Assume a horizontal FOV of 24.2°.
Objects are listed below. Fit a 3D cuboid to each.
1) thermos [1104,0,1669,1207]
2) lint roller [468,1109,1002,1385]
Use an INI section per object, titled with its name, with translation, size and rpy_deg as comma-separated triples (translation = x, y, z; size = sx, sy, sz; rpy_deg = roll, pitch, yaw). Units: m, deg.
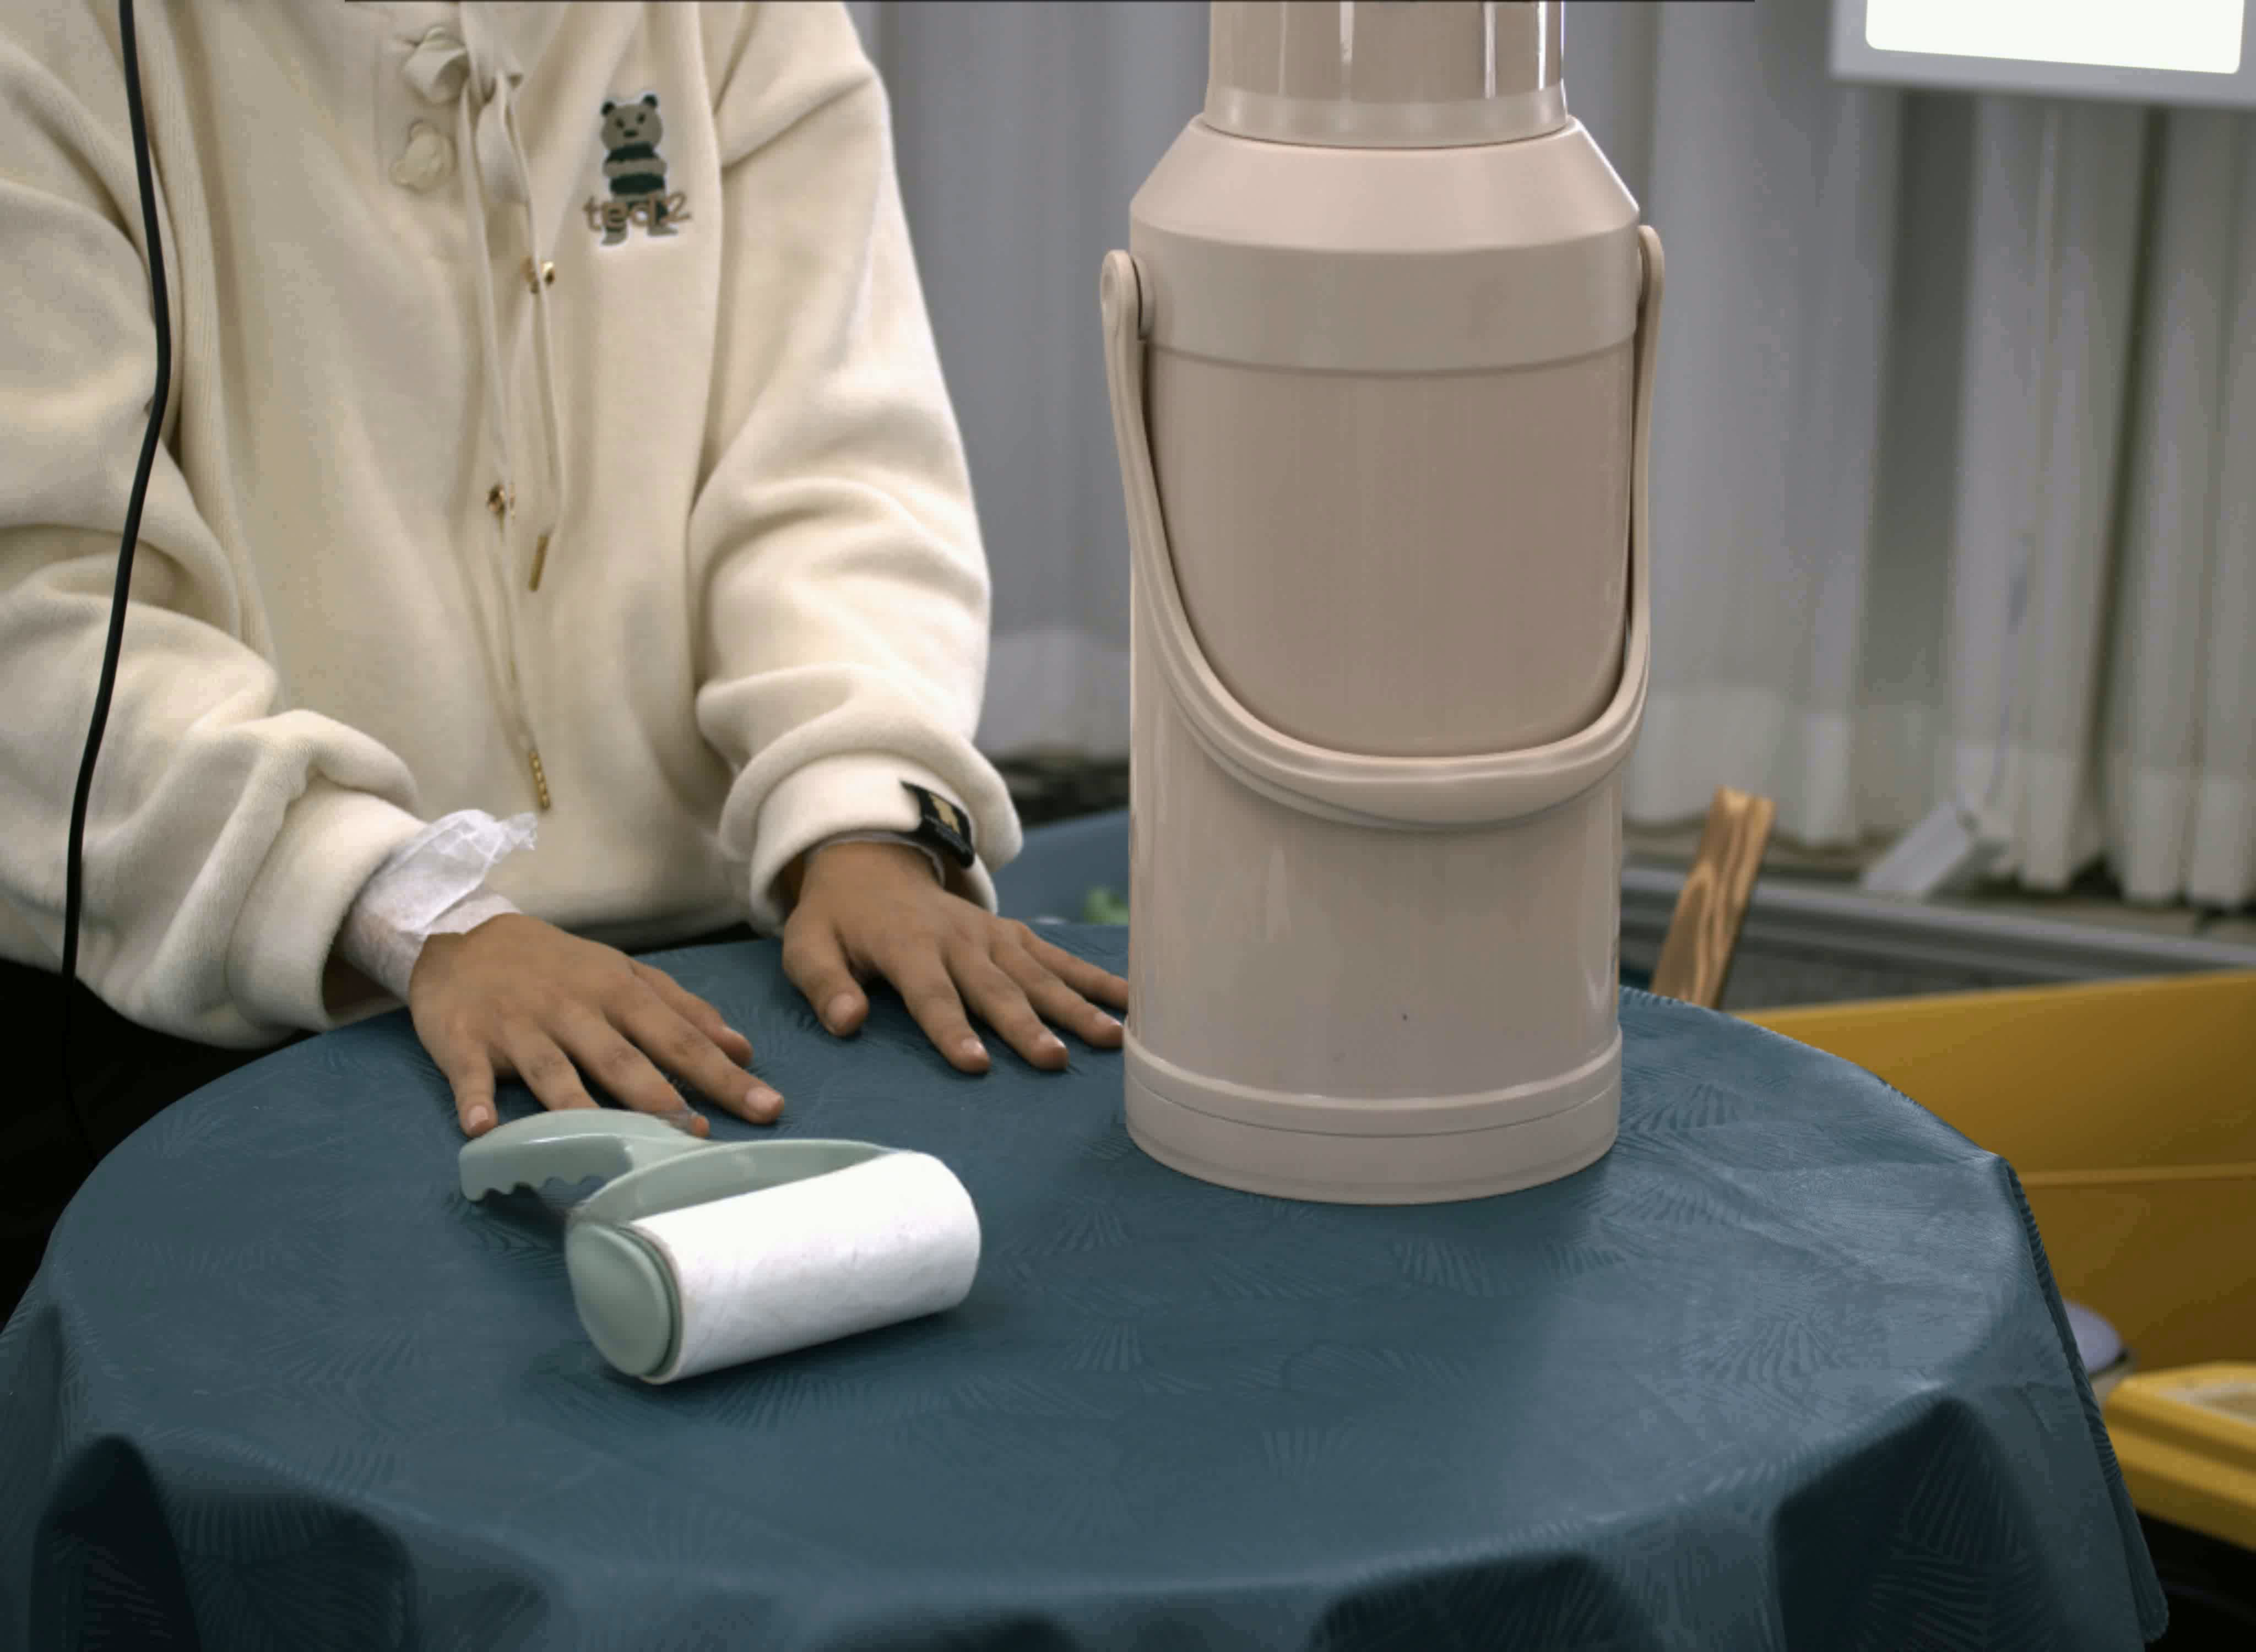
[thermos]
translation = 0.076, -0.099, 1.641
size = 0.175, 0.410, 0.205
rpy_deg = -5, 17, -15
[lint roller]
translation = -0.134, 0.108, 1.546
size = 0.117, 0.049, 0.195
rpy_deg = -14, 21, -36
